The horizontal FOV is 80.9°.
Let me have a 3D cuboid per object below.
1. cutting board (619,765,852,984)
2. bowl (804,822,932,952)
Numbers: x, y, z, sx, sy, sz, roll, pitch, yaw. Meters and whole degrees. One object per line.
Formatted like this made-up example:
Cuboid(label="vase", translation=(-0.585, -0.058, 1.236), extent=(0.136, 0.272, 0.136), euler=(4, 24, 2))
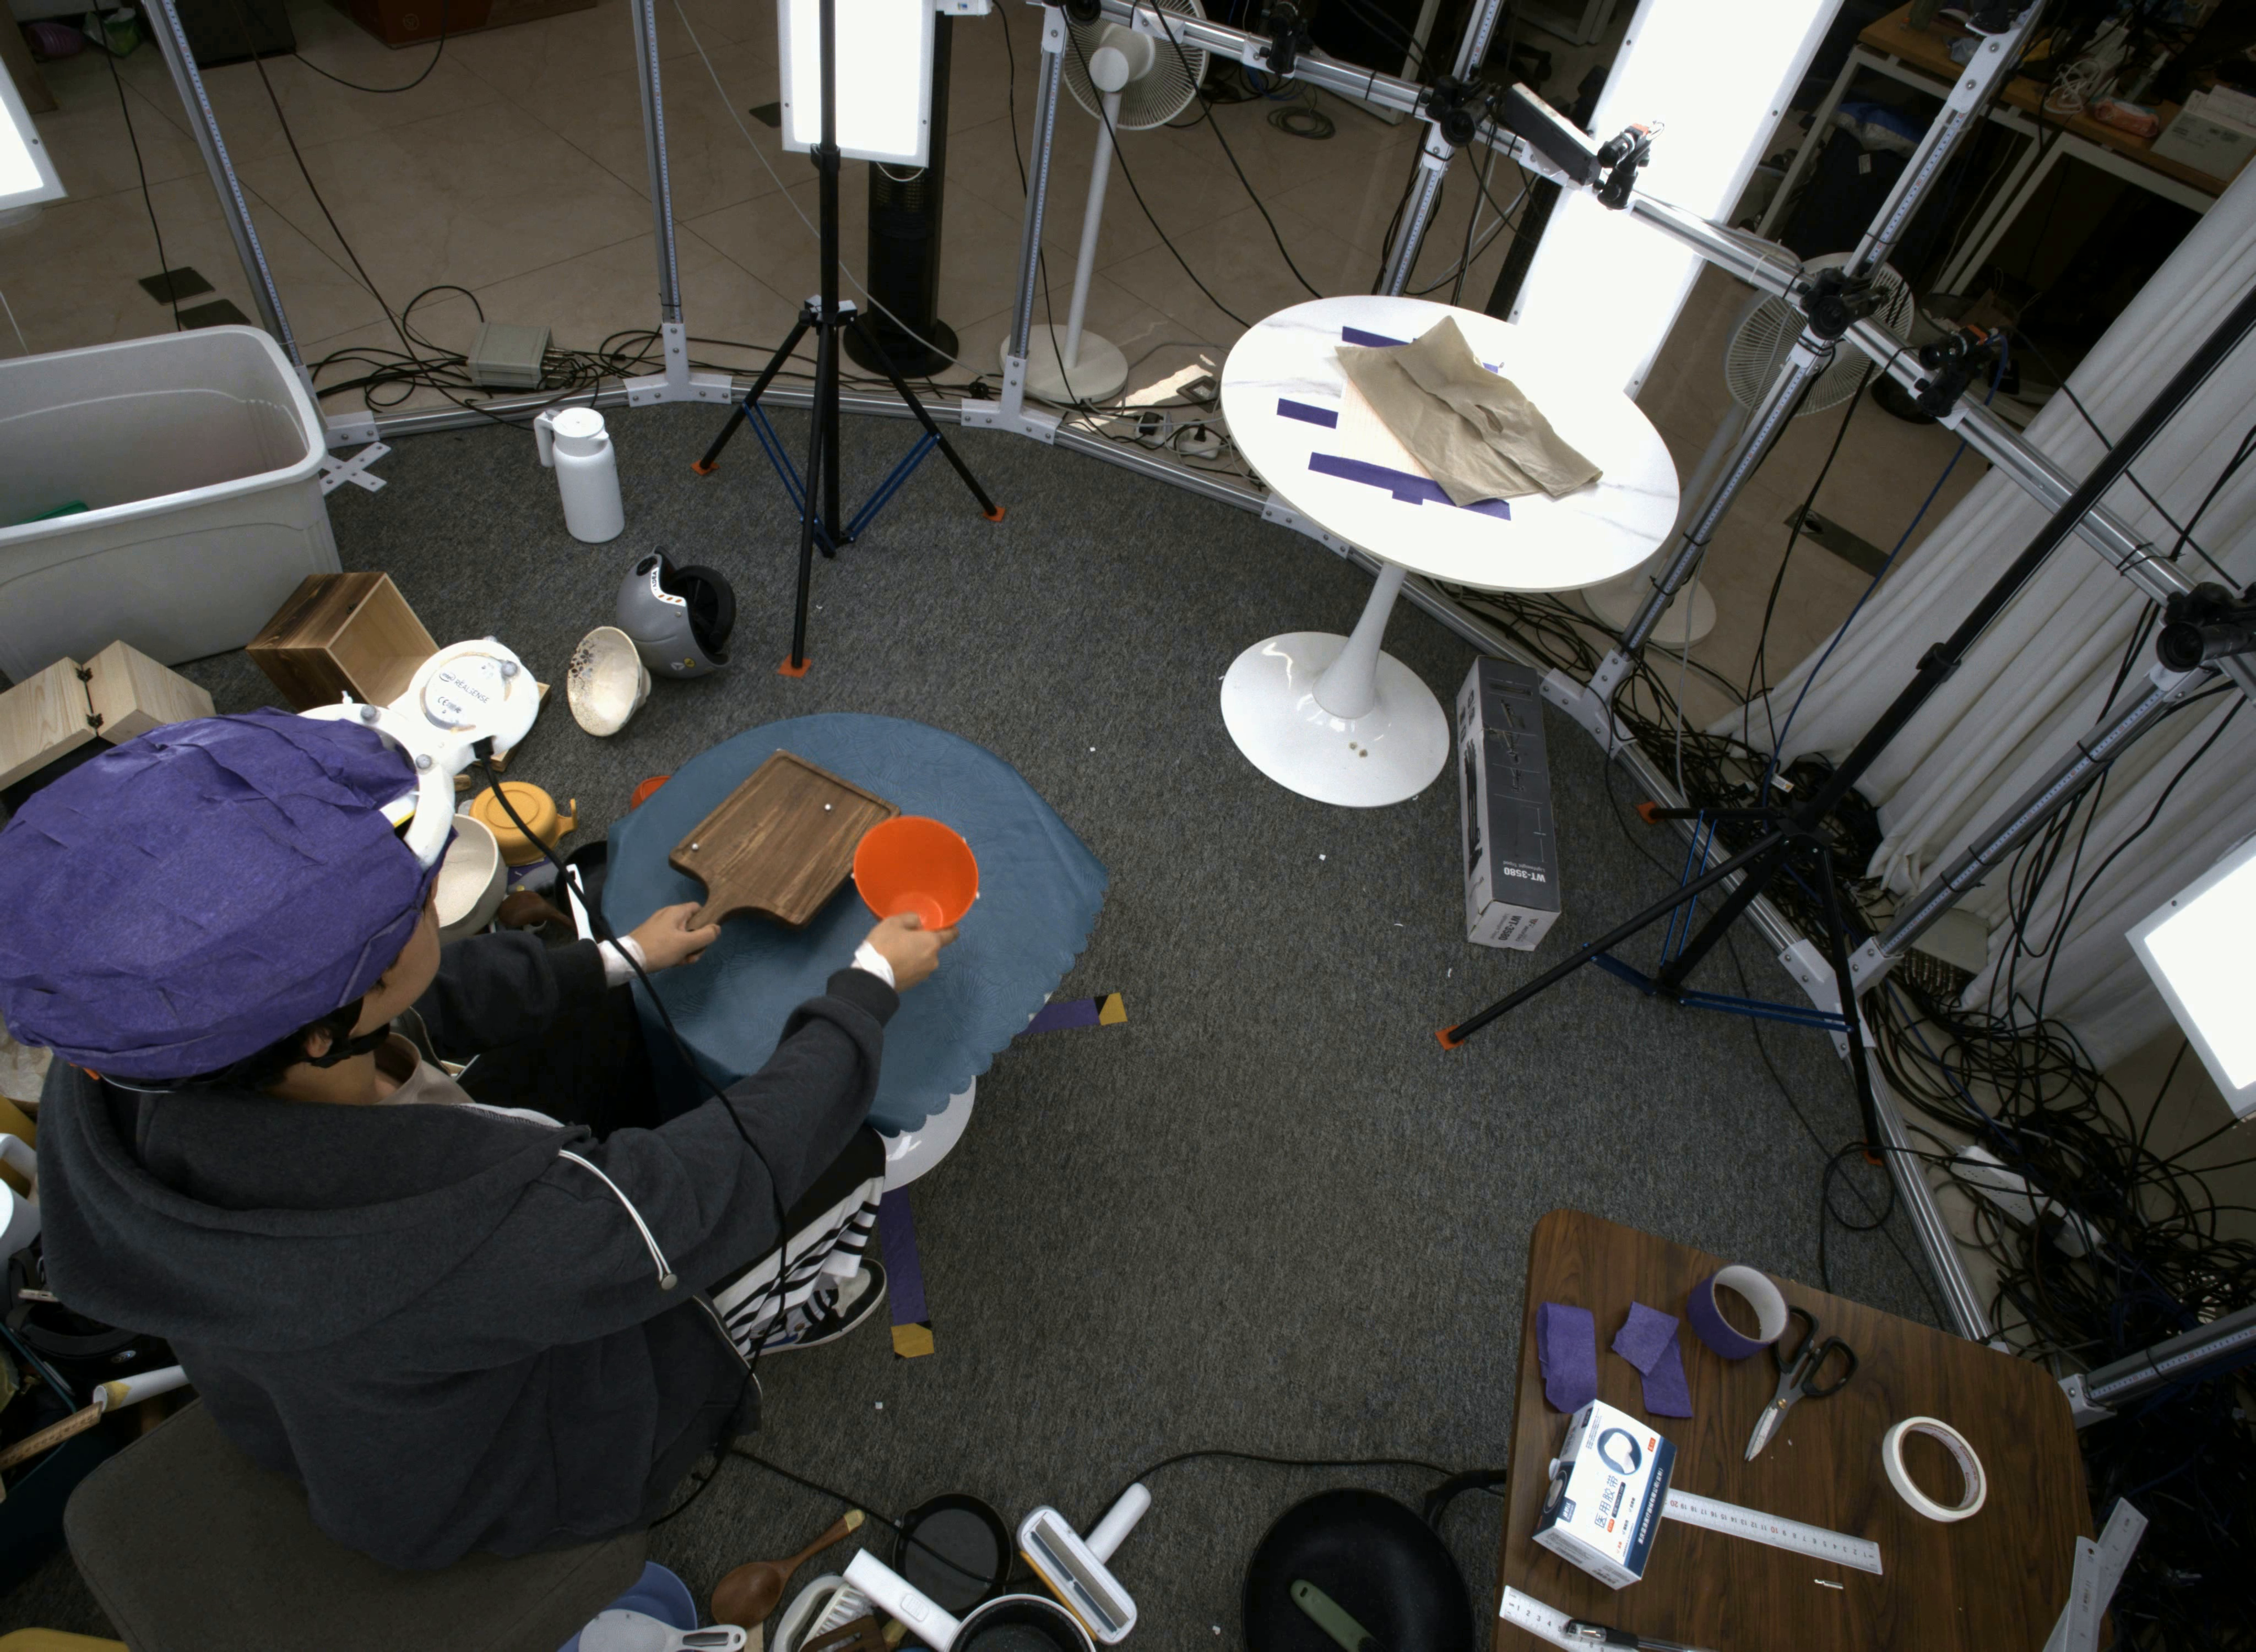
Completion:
Cuboid(label="cutting board", translation=(-0.508, 0.063, 1.598), extent=(0.199, 0.023, 0.349), euler=(25, 44, 3))
Cuboid(label="bowl", translation=(-0.307, 0.083, 1.530), extent=(0.148, 0.106, 0.145), euler=(9, 53, -10))
